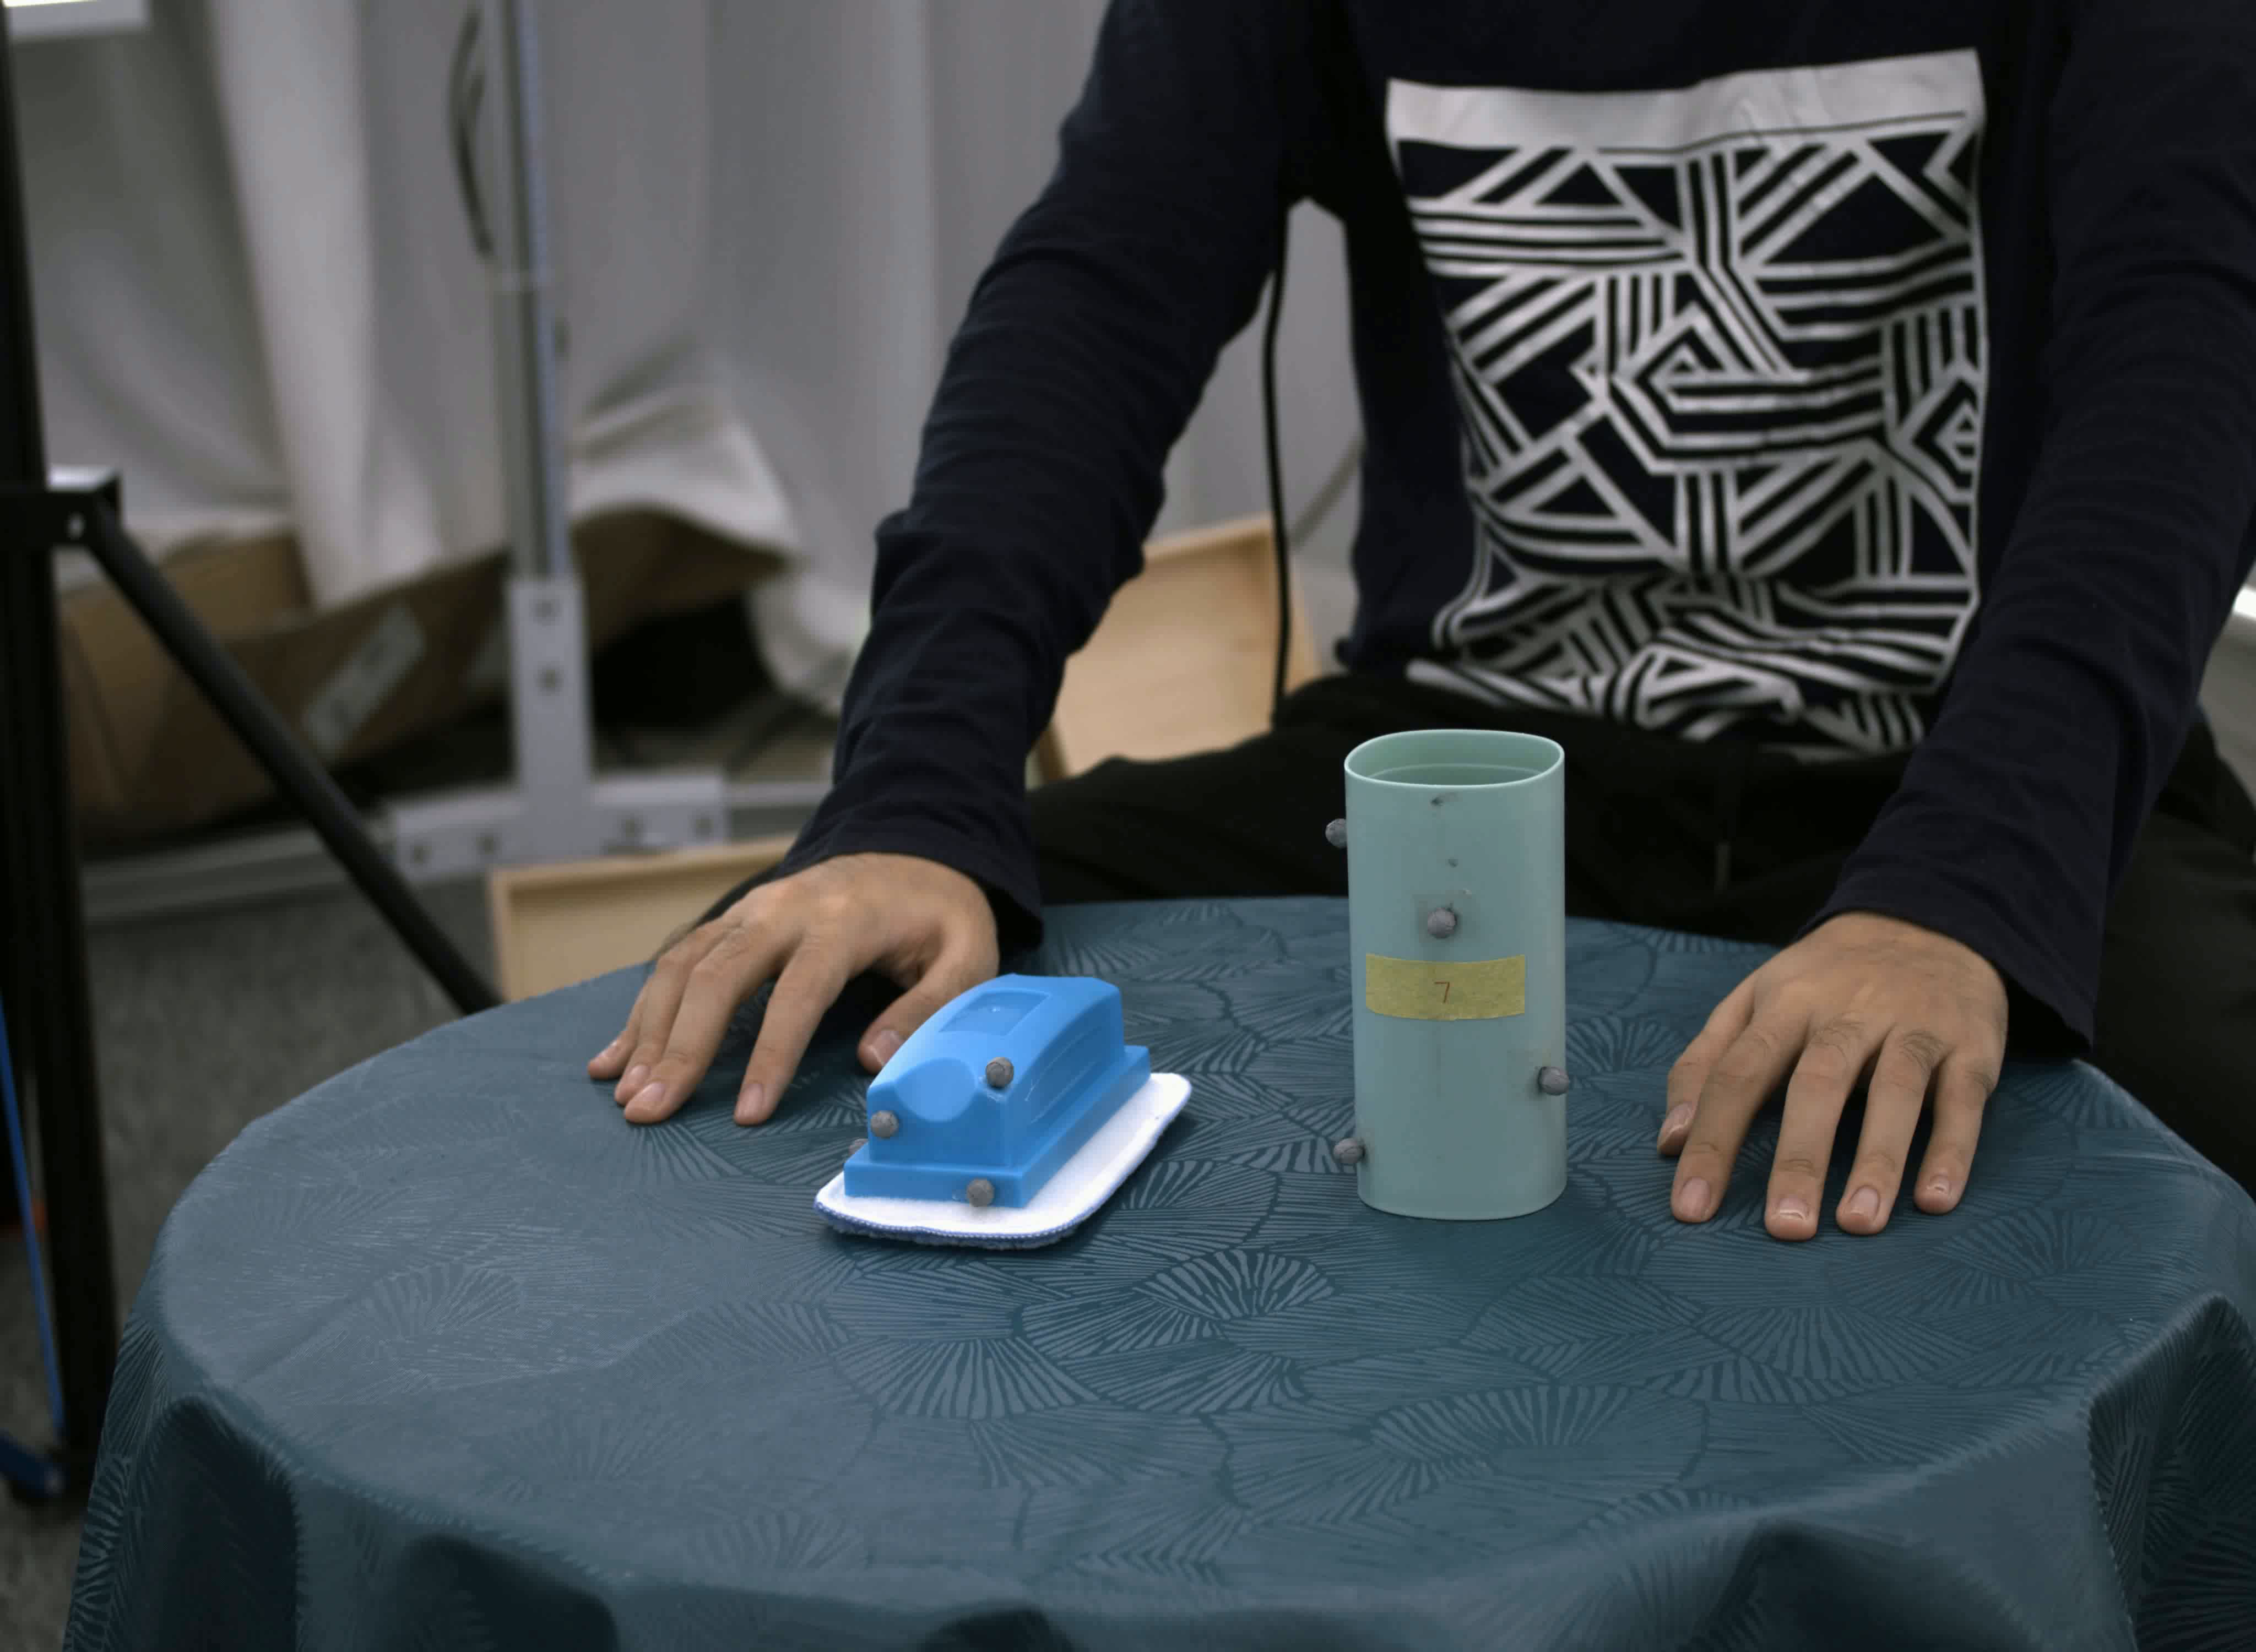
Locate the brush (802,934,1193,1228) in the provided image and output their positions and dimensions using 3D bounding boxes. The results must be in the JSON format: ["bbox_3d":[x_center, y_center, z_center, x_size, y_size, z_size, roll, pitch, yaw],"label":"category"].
[{"bbox_3d":[-0.037,0.072,1.583,0.085,0.056,0.142,7,20,20],"label":"brush"}]

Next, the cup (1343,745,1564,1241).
[{"bbox_3d":[0.096,0.048,1.539,0.066,0.132,0.067,-2,14,-1],"label":"cup"}]
